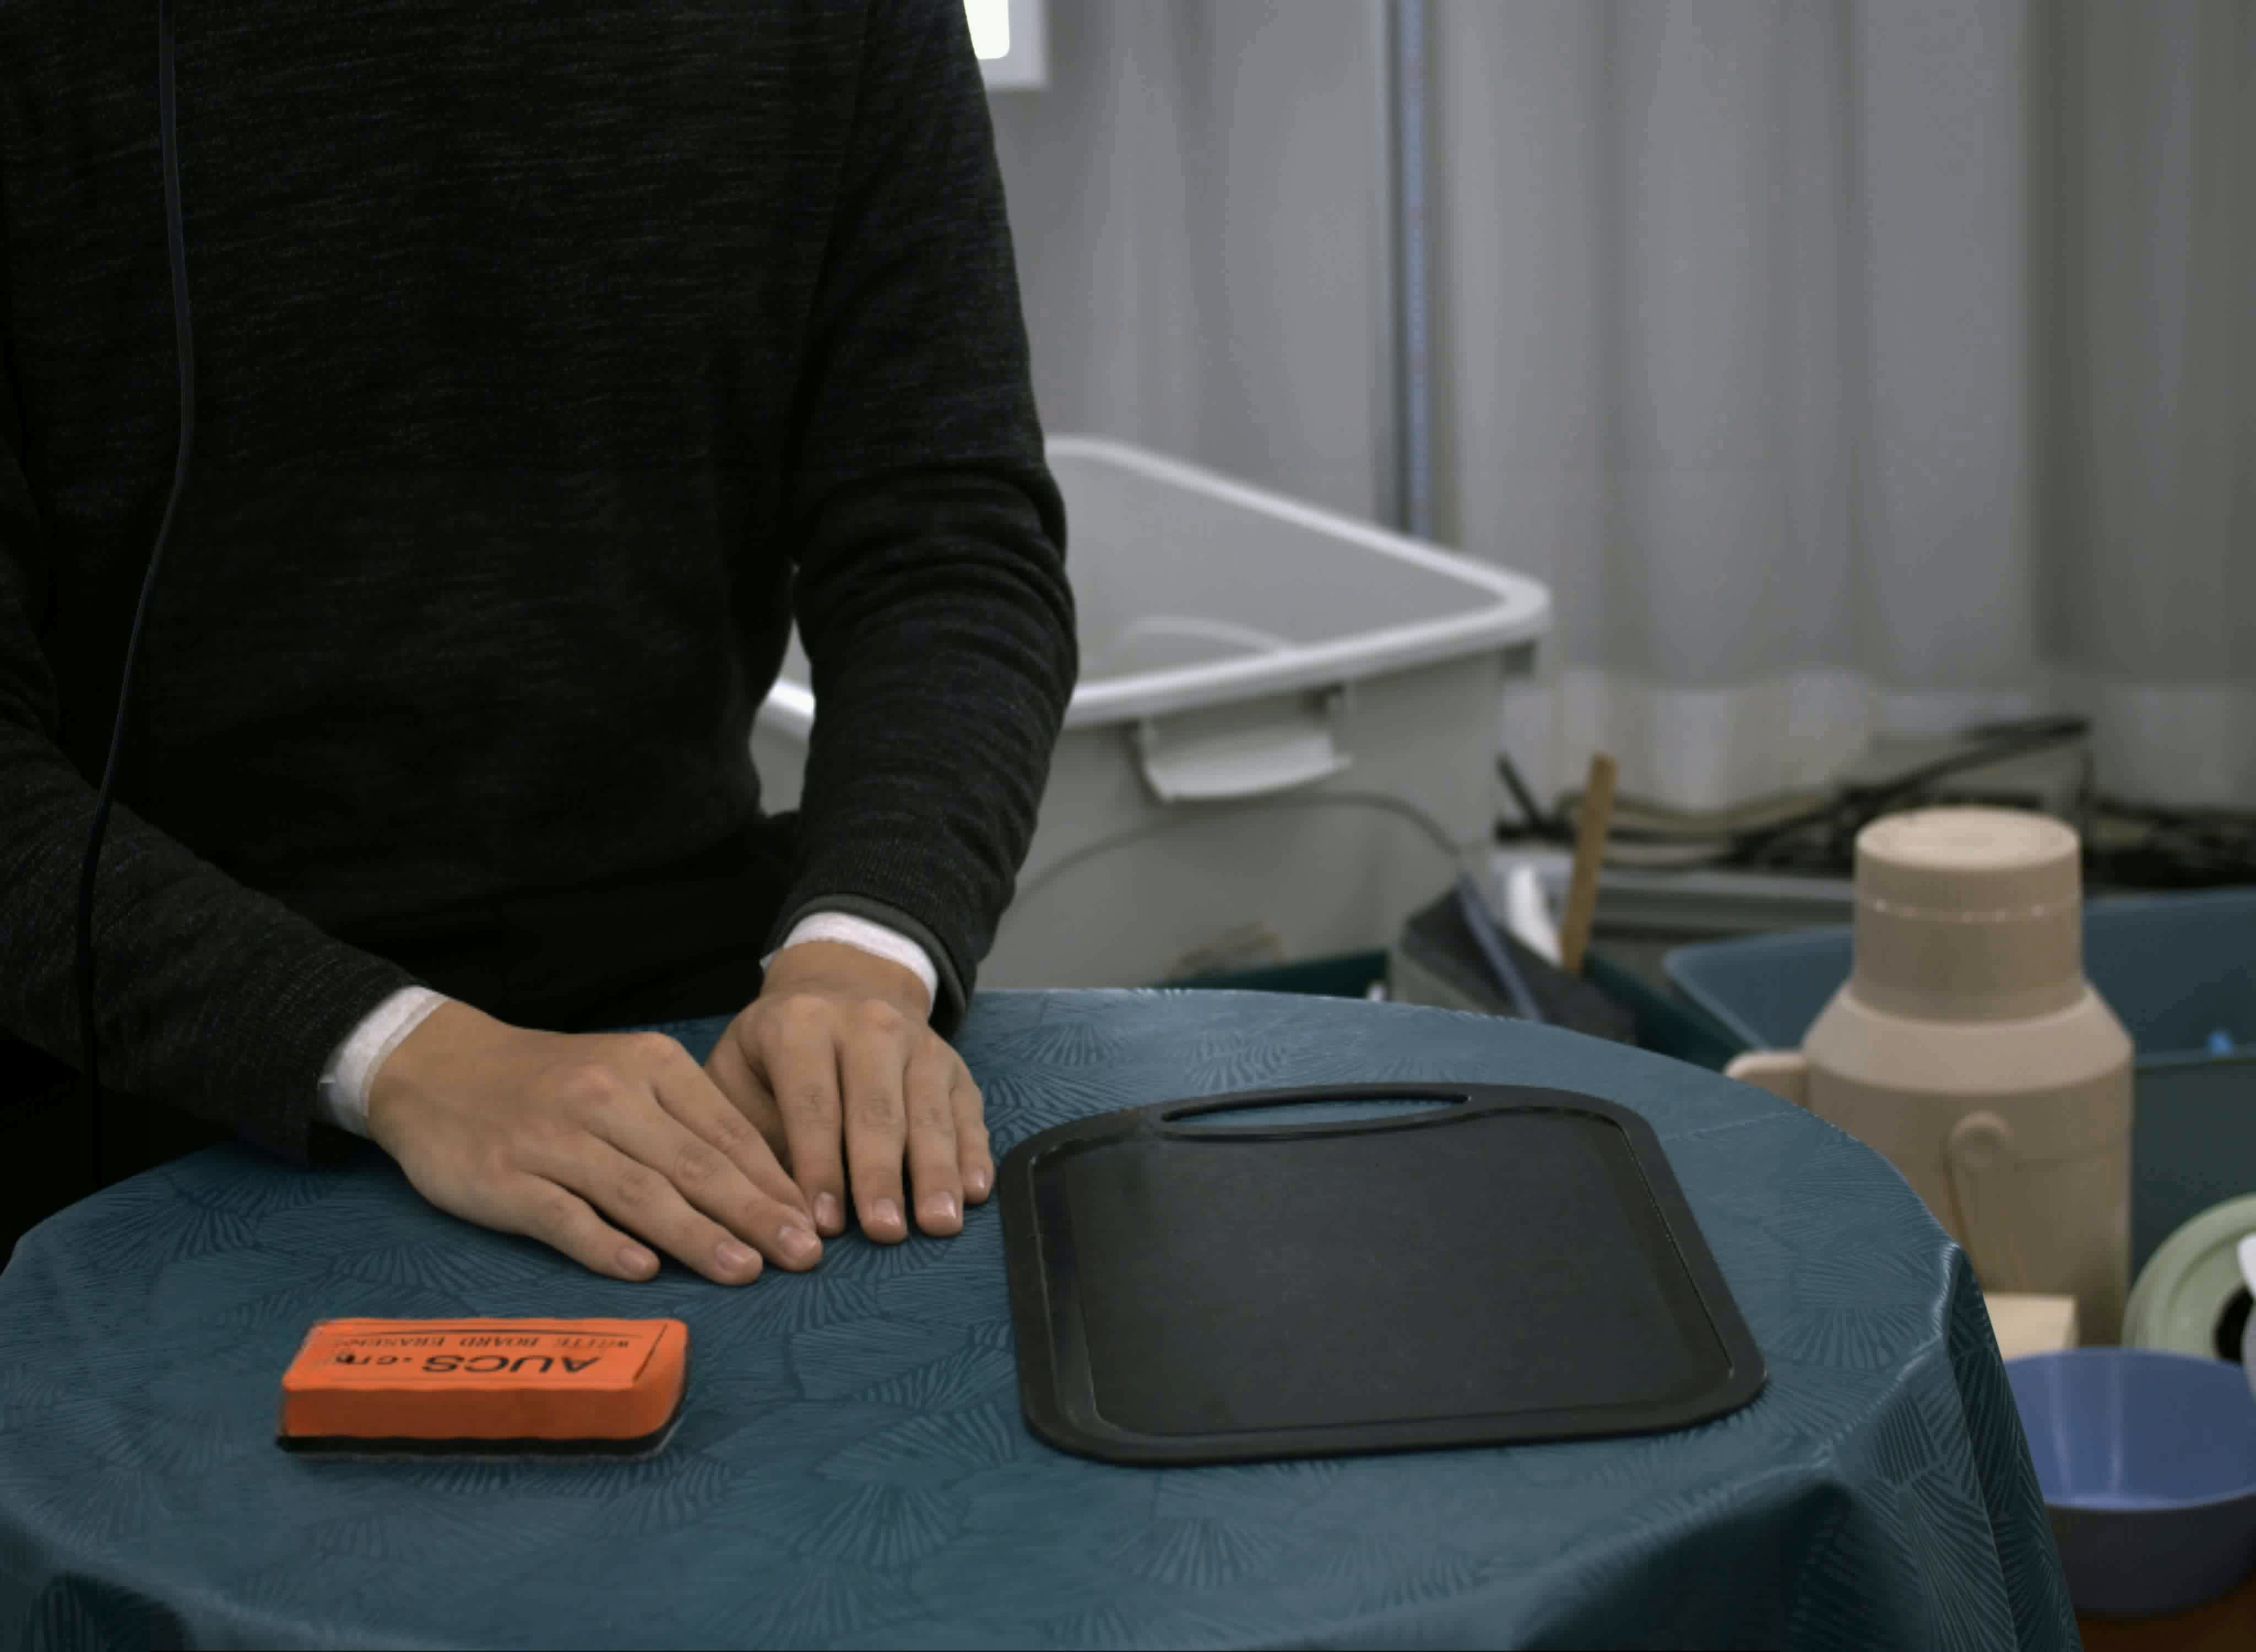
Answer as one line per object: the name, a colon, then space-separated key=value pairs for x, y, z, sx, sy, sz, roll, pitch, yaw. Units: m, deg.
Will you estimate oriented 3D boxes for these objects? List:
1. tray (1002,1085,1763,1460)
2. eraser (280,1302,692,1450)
tray: x=0.068 y=0.127 z=1.642 sx=0.210 sy=0.010 sz=0.327 roll=-3 pitch=15 yaw=-2
eraser: x=-0.180 y=0.155 z=1.538 sx=0.108 sy=0.023 sz=0.059 roll=-3 pitch=13 yaw=9
